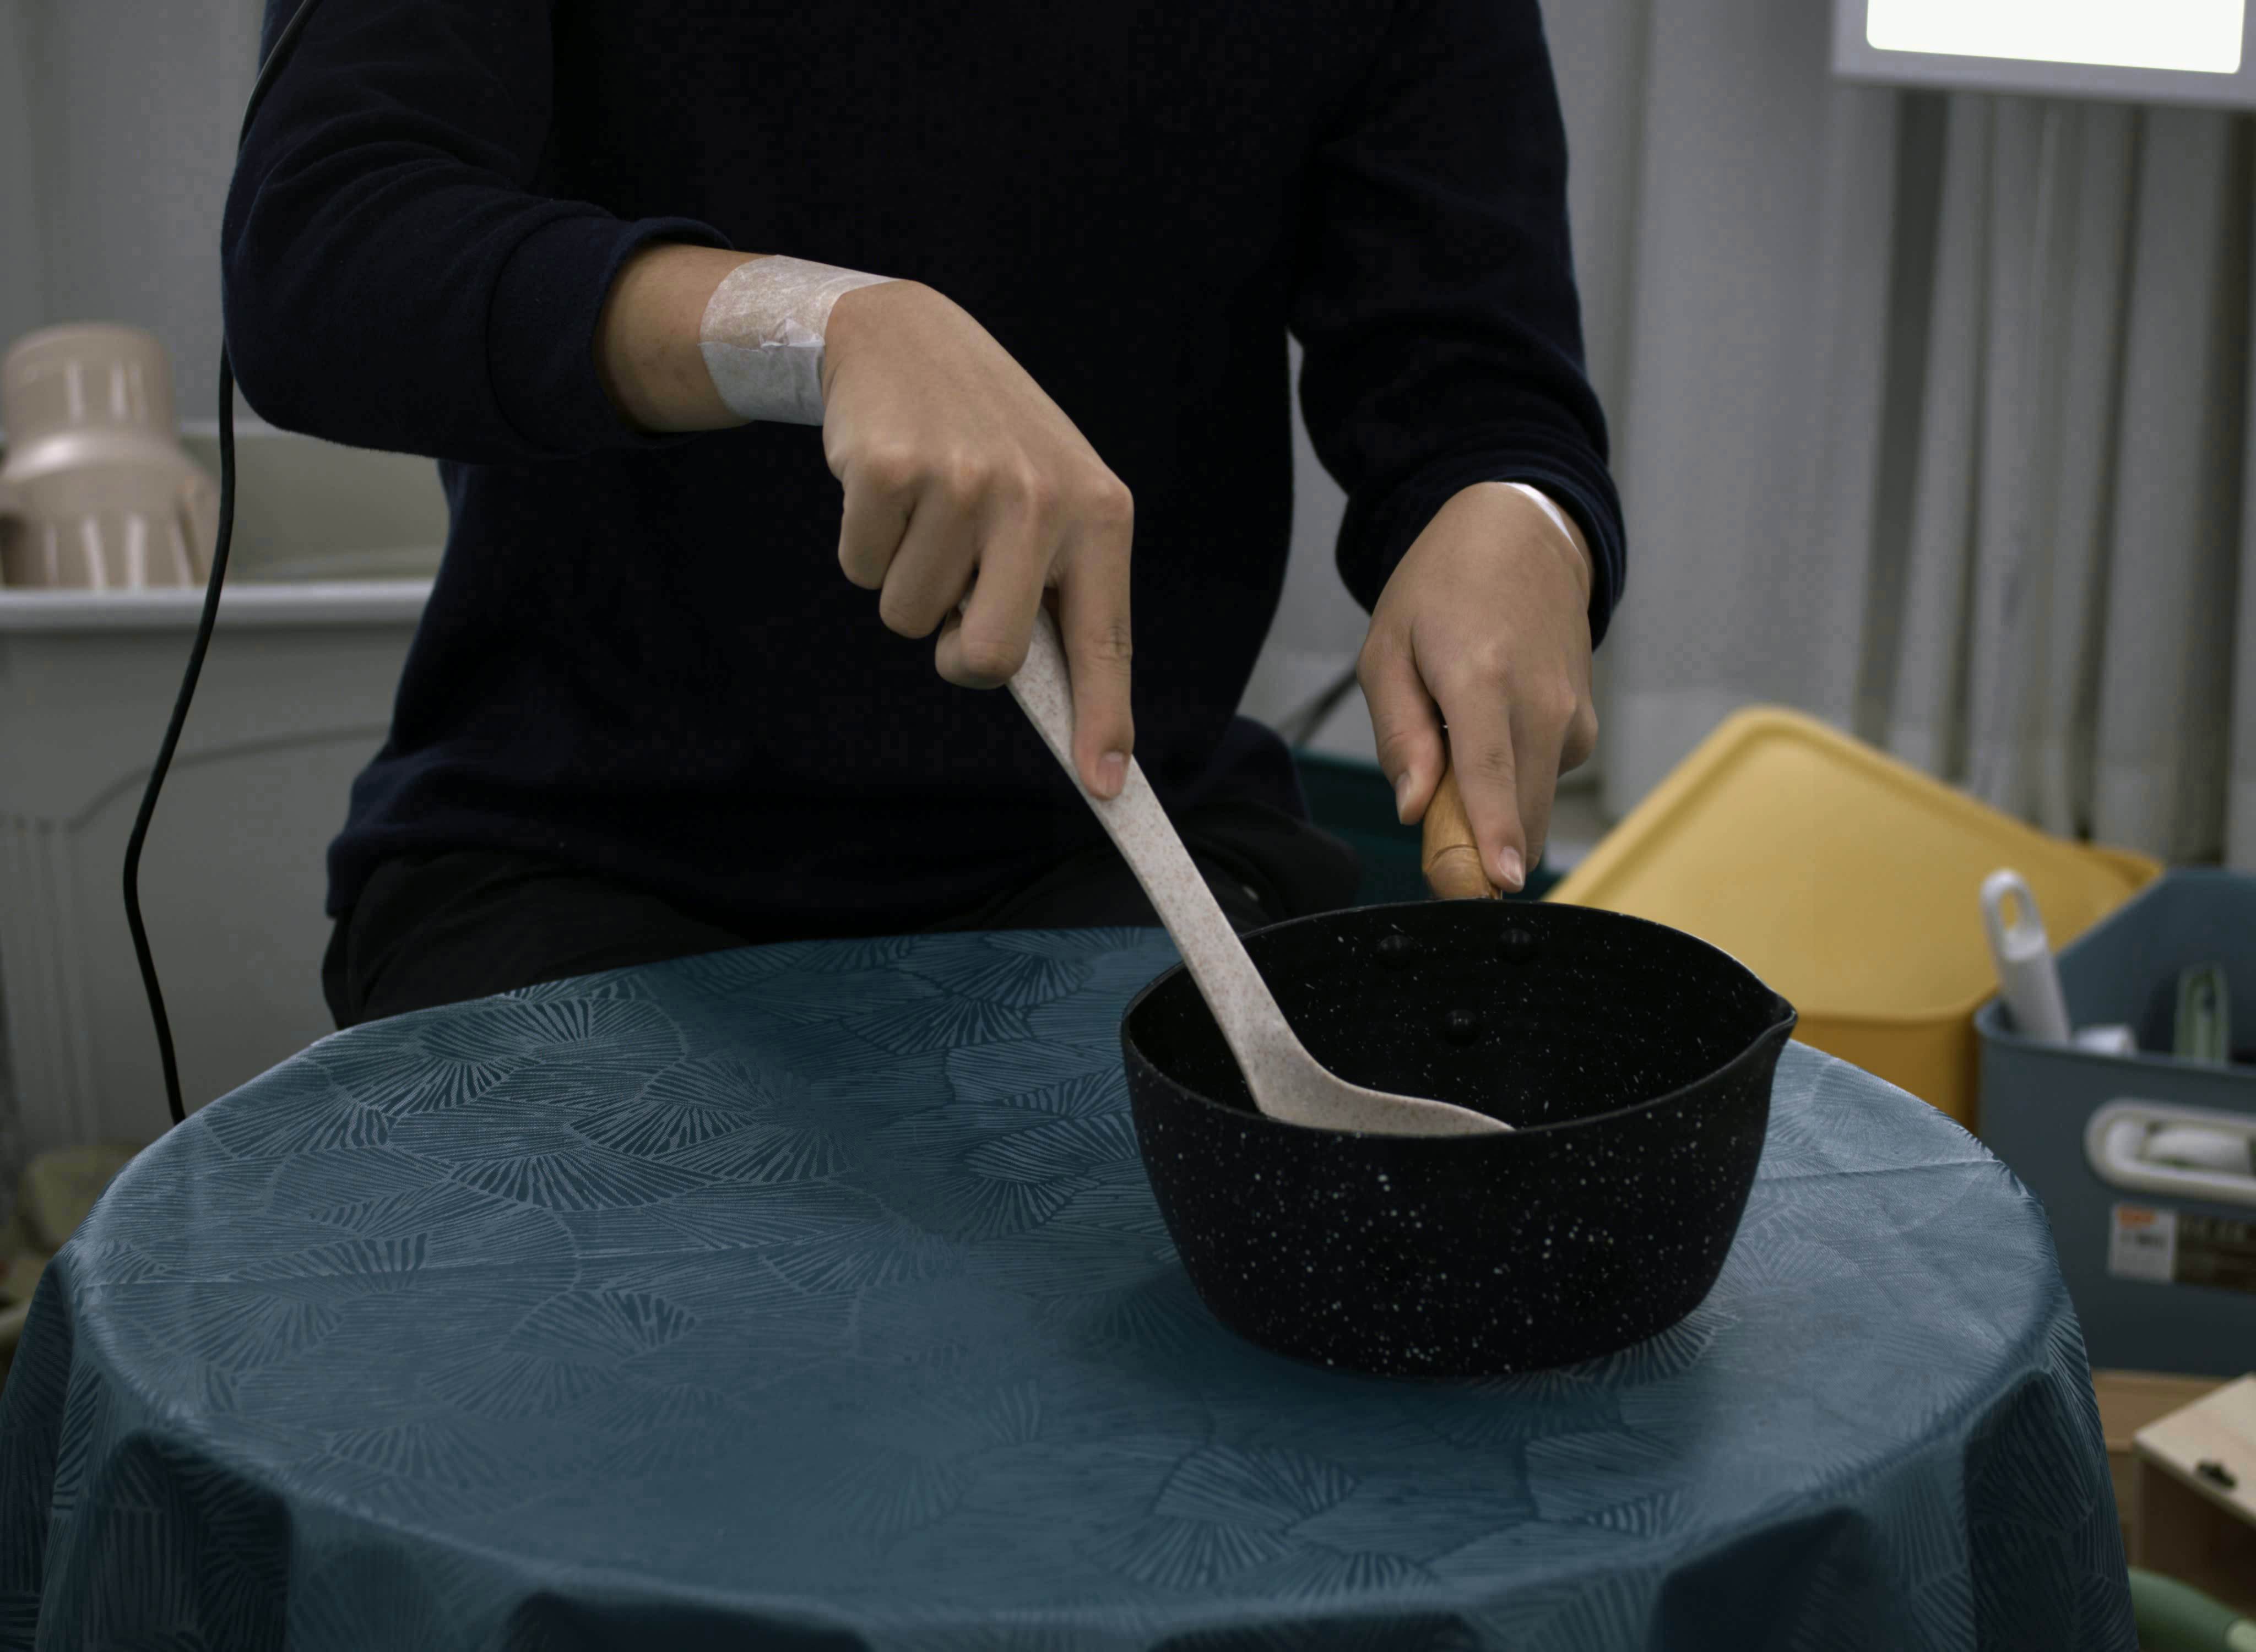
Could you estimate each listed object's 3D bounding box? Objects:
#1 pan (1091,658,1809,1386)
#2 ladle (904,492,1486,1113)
[{"bbox_3d":[0.098,0.054,1.592,0.206,0.109,0.341,-2,21,4],"label":"pan"},{"bbox_3d":[0.022,0.011,1.519,0.089,0.275,0.069,-30,-1,-33],"label":"ladle"}]
